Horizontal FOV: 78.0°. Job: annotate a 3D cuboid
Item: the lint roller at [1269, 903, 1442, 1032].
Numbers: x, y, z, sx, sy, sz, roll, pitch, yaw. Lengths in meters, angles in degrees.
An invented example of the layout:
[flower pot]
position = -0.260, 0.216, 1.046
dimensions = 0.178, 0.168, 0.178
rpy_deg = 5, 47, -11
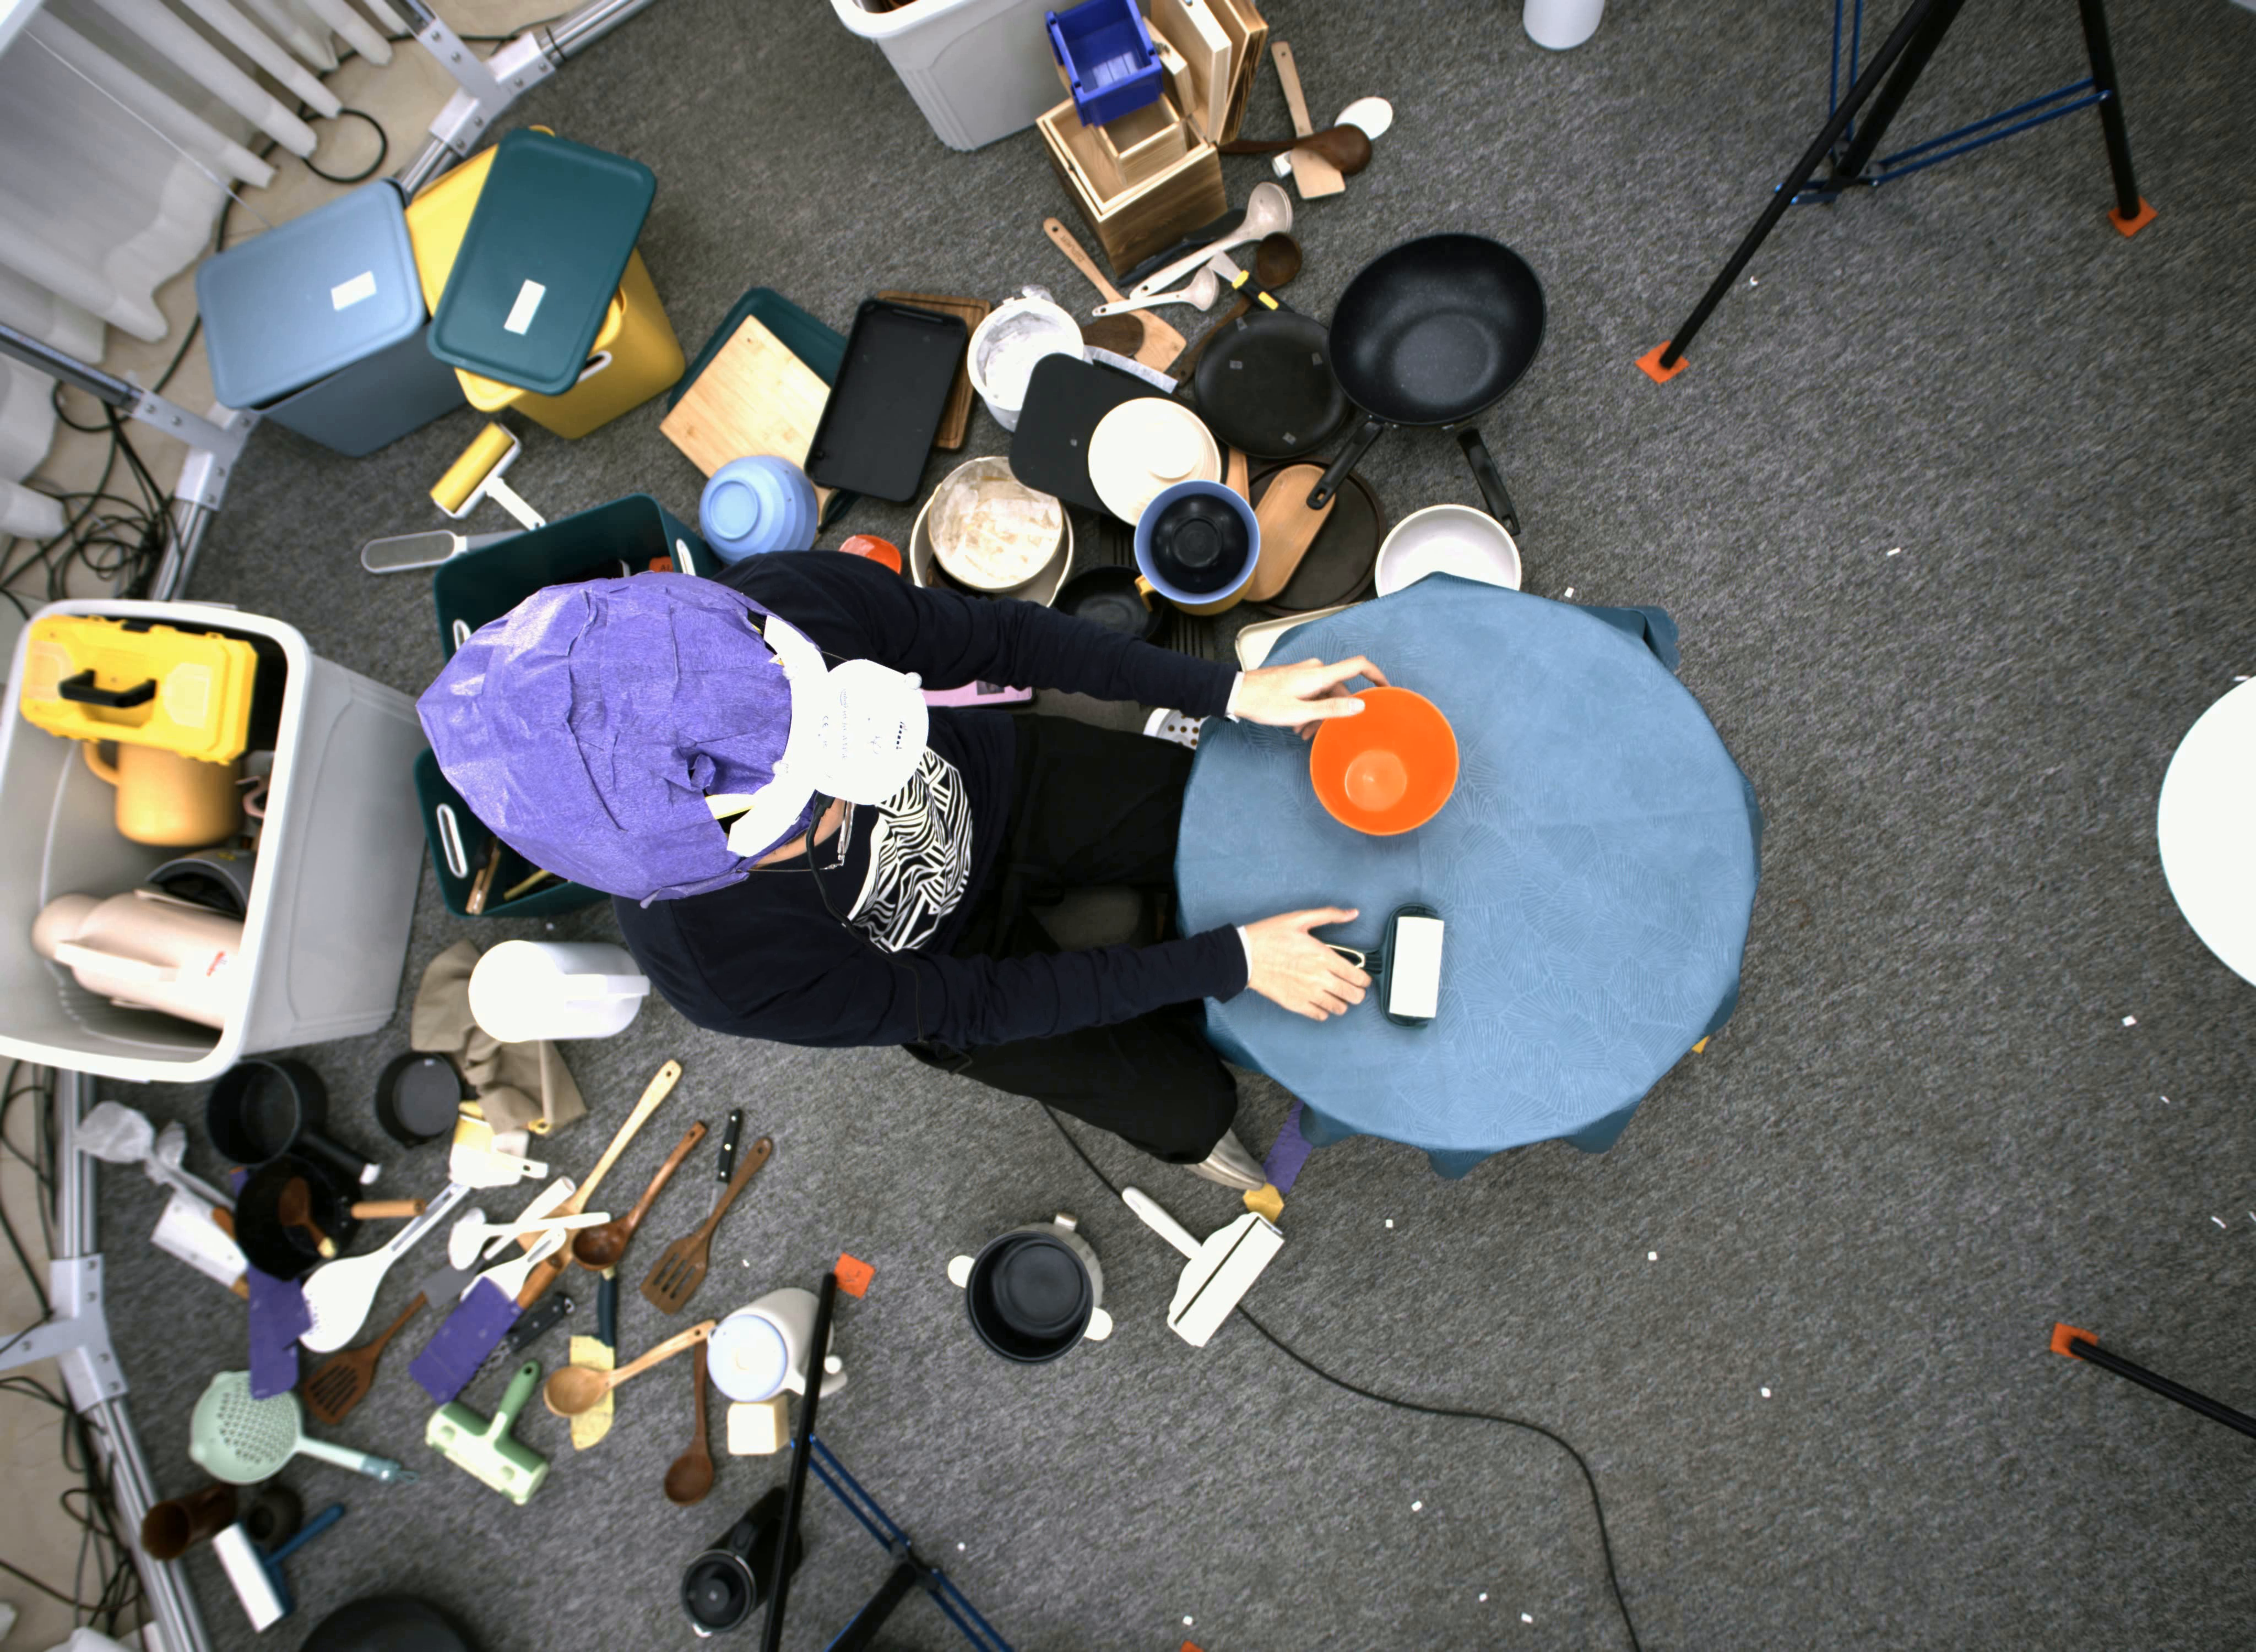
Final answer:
[lint roller]
position = 0.233, 0.140, 1.443
dimensions = 0.181, 0.048, 0.134
rpy_deg = 4, 87, 14

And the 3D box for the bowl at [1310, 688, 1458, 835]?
[bowl]
position = 0.264, -0.061, 1.419
dimensions = 0.149, 0.104, 0.147
rpy_deg = -1, 86, 13
